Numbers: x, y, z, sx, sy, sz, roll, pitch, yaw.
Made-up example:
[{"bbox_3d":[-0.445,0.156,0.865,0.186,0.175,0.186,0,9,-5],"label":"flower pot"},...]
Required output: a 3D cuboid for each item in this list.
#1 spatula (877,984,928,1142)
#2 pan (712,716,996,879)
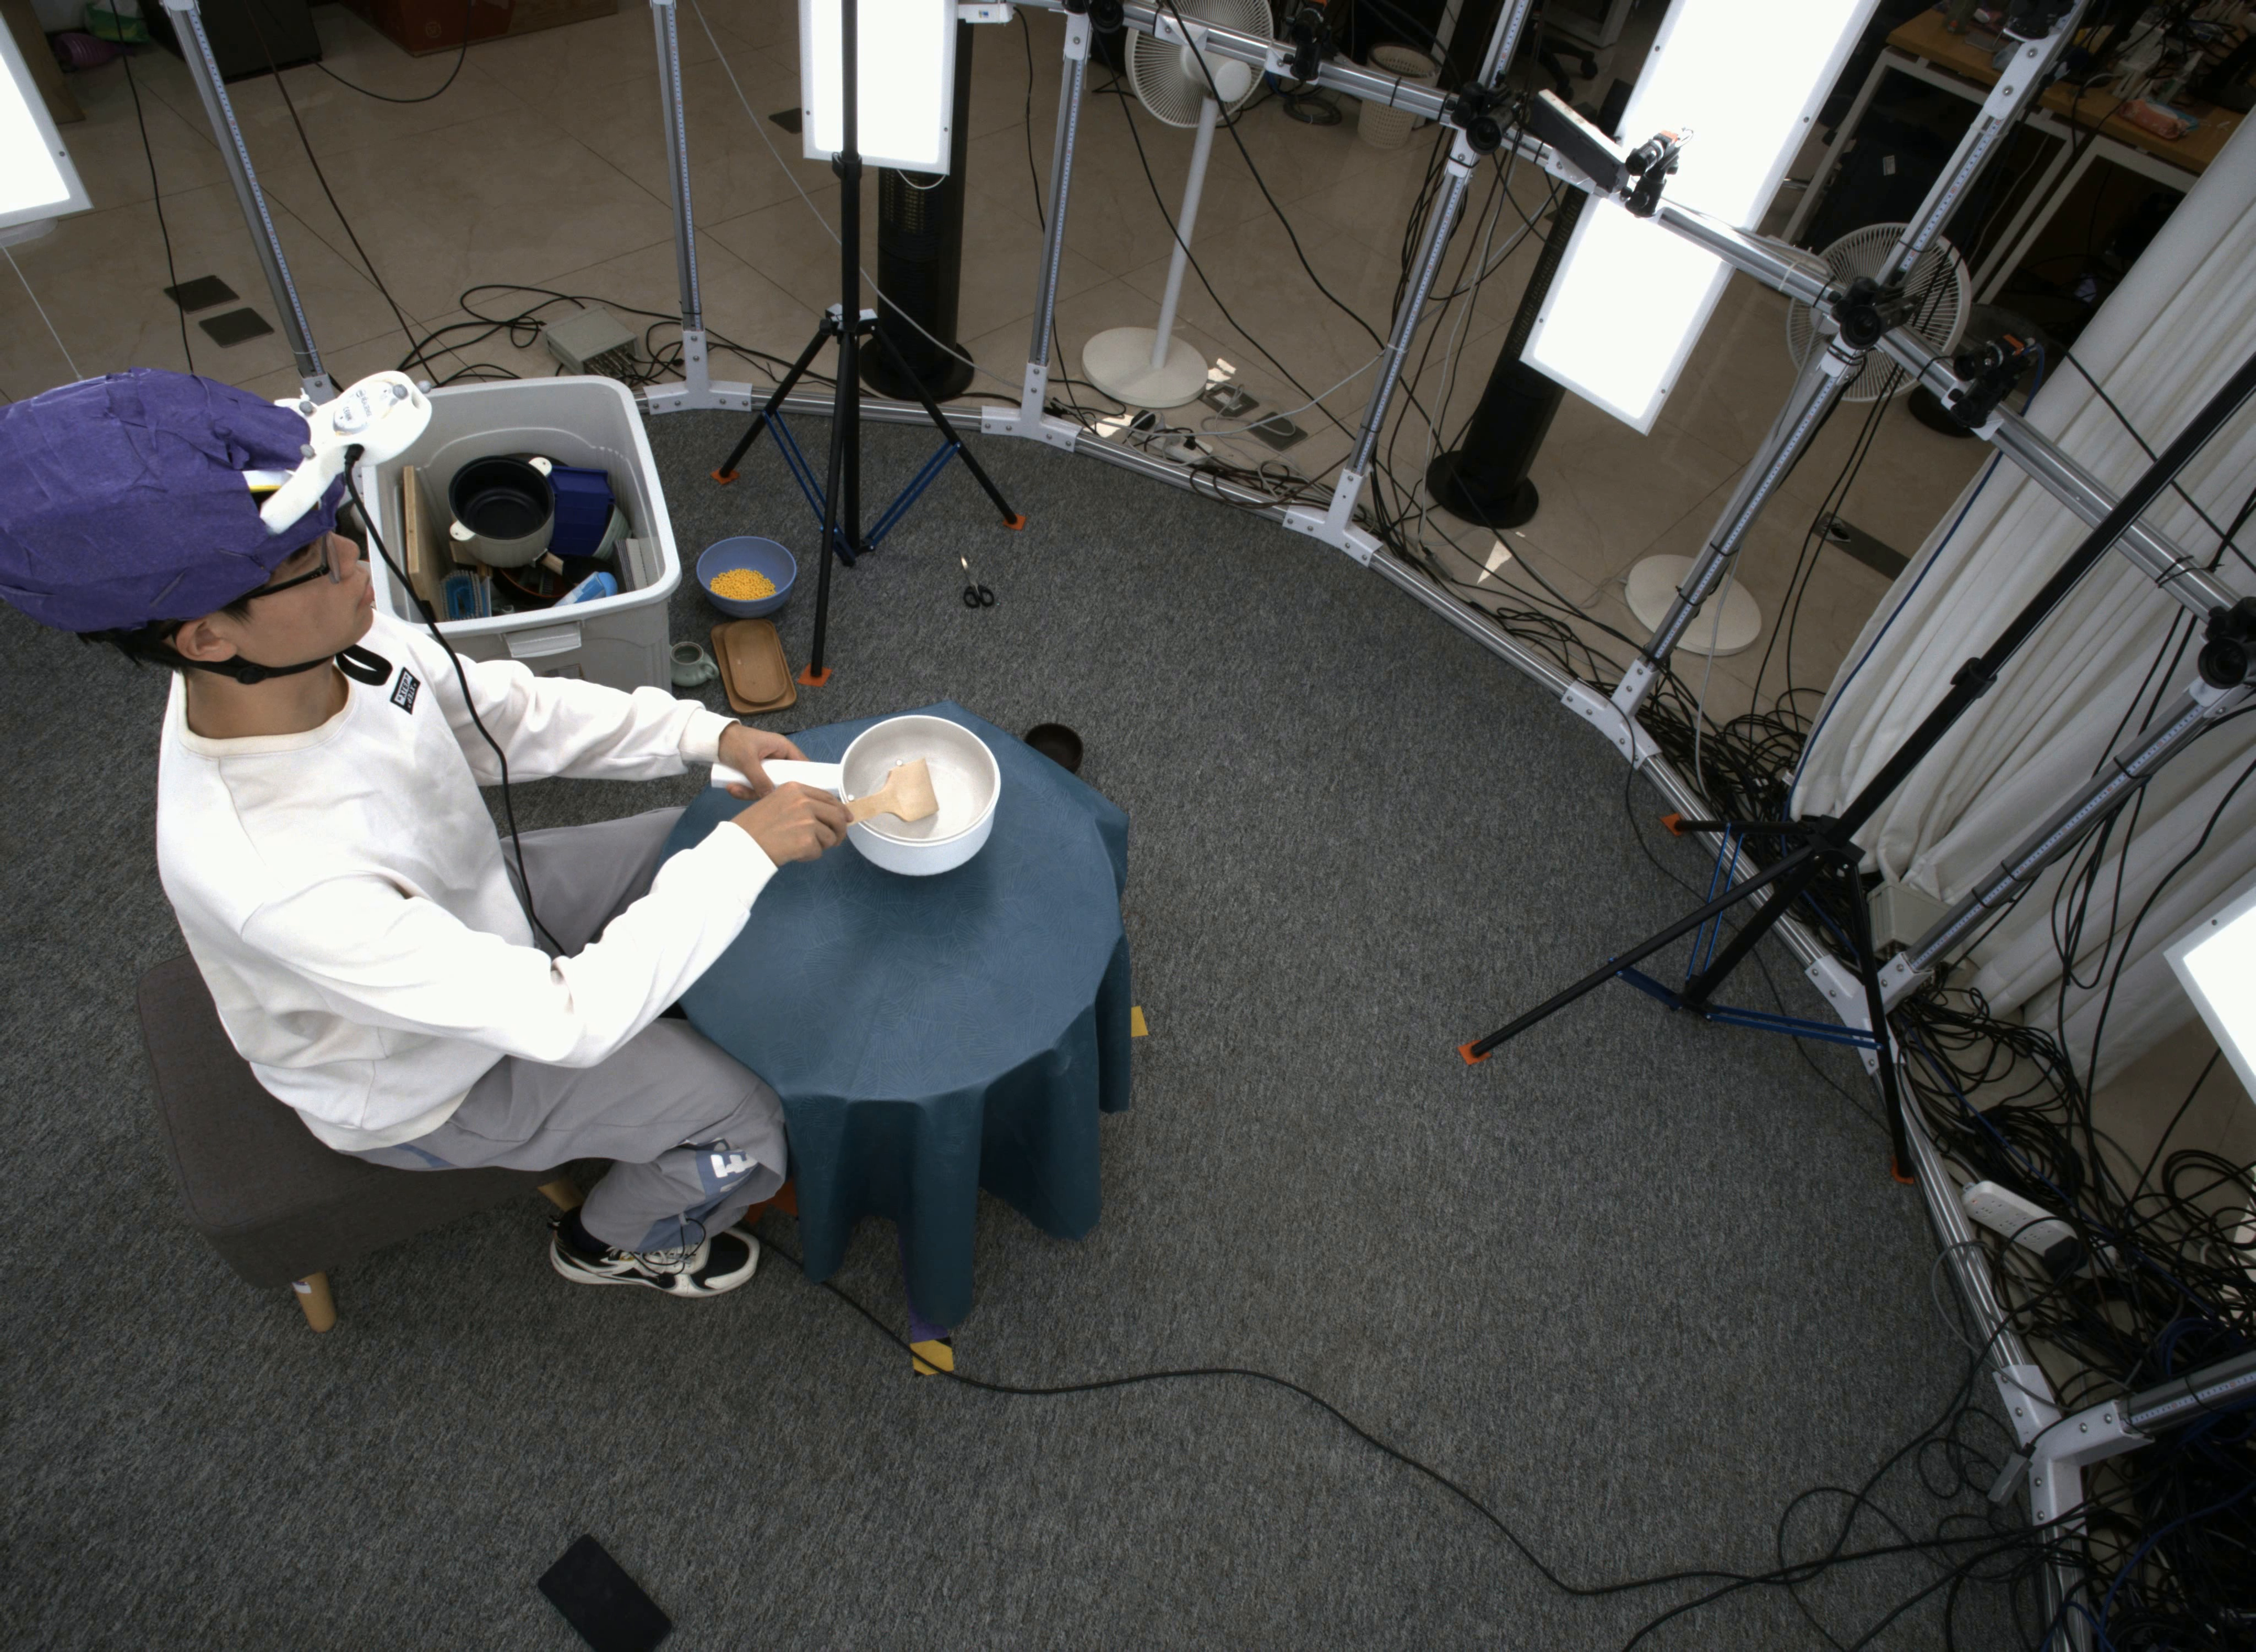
[{"bbox_3d":[-0.389,0.384,2.164,0.072,0.011,0.286,-6,55,-15],"label":"spatula"},{"bbox_3d":[-0.346,-0.035,1.664,0.353,0.104,0.198,2,60,-8],"label":"pan"}]
